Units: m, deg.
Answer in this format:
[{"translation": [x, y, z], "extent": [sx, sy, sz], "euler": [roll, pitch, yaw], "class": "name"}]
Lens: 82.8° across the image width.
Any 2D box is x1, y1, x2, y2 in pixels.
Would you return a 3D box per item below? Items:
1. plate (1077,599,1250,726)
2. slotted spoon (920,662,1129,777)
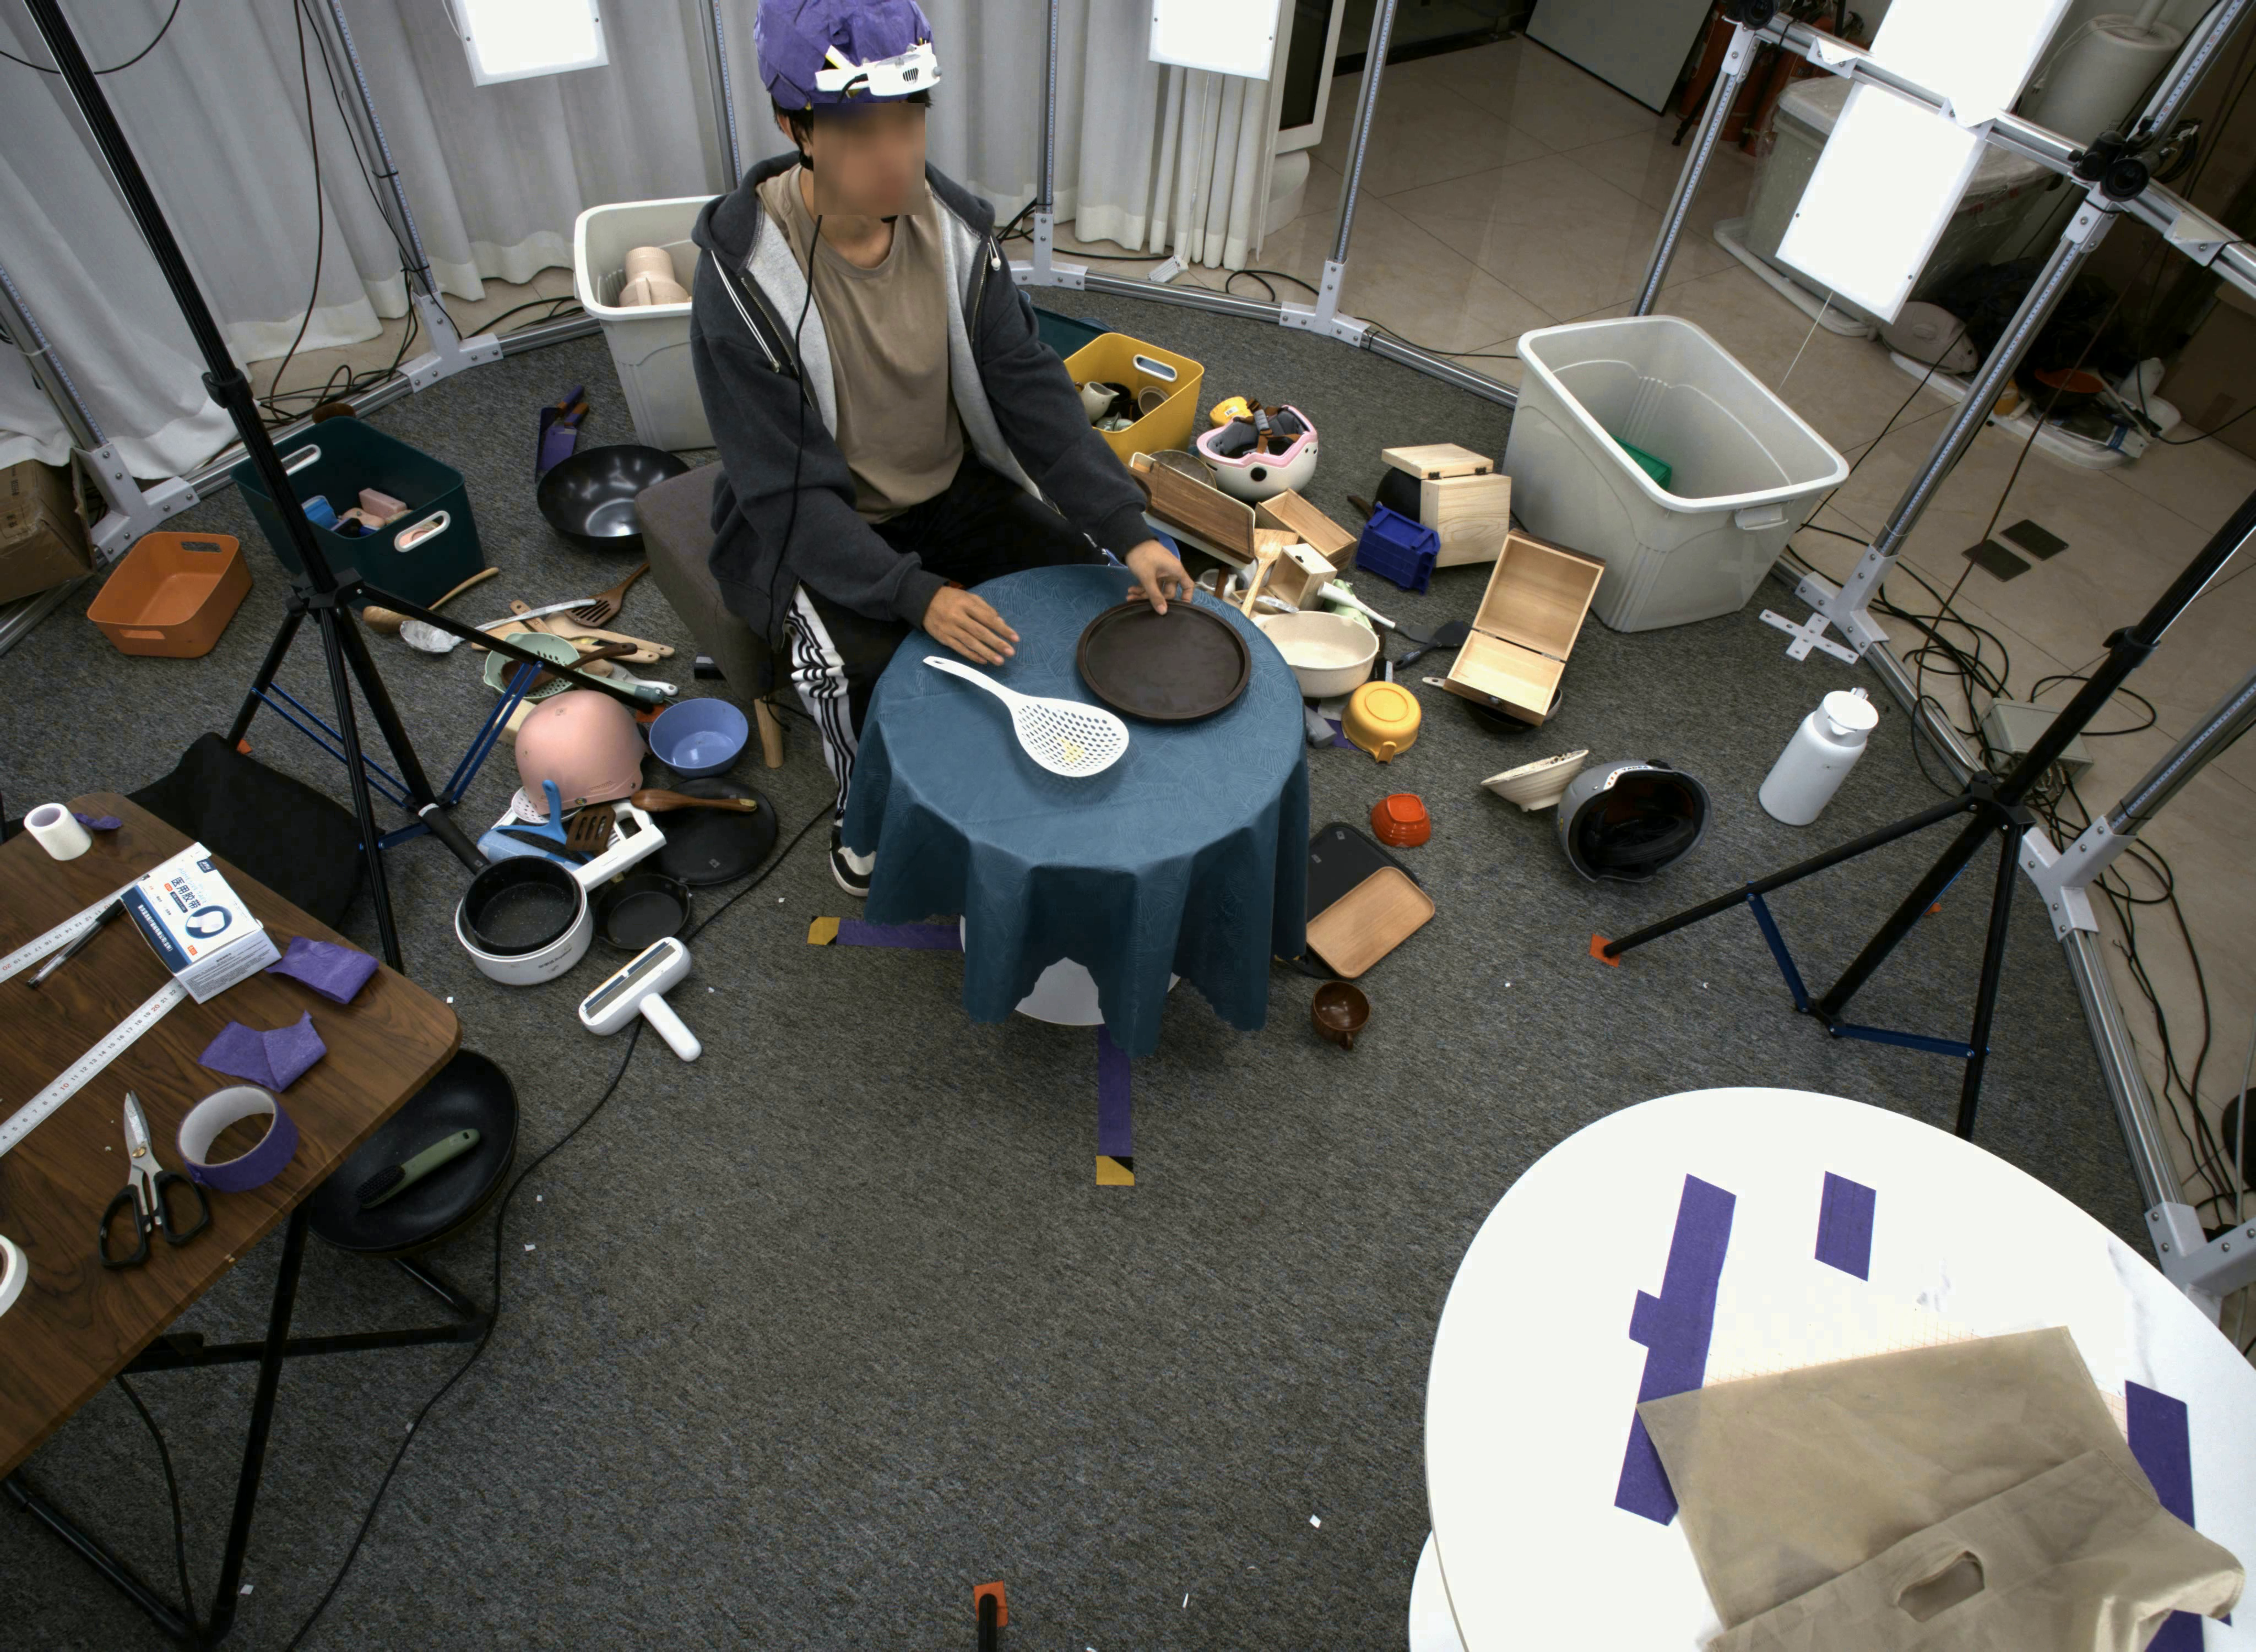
[{"translation": [0.051, -0.239, 1.862], "extent": [0.254, 0.028, 0.261], "euler": [1, 50, -2], "class": "plate"}, {"translation": [-0.154, -0.163, 1.770], "extent": [0.352, 0.049, 0.138], "euler": [33, 57, 23], "class": "slotted spoon"}]
